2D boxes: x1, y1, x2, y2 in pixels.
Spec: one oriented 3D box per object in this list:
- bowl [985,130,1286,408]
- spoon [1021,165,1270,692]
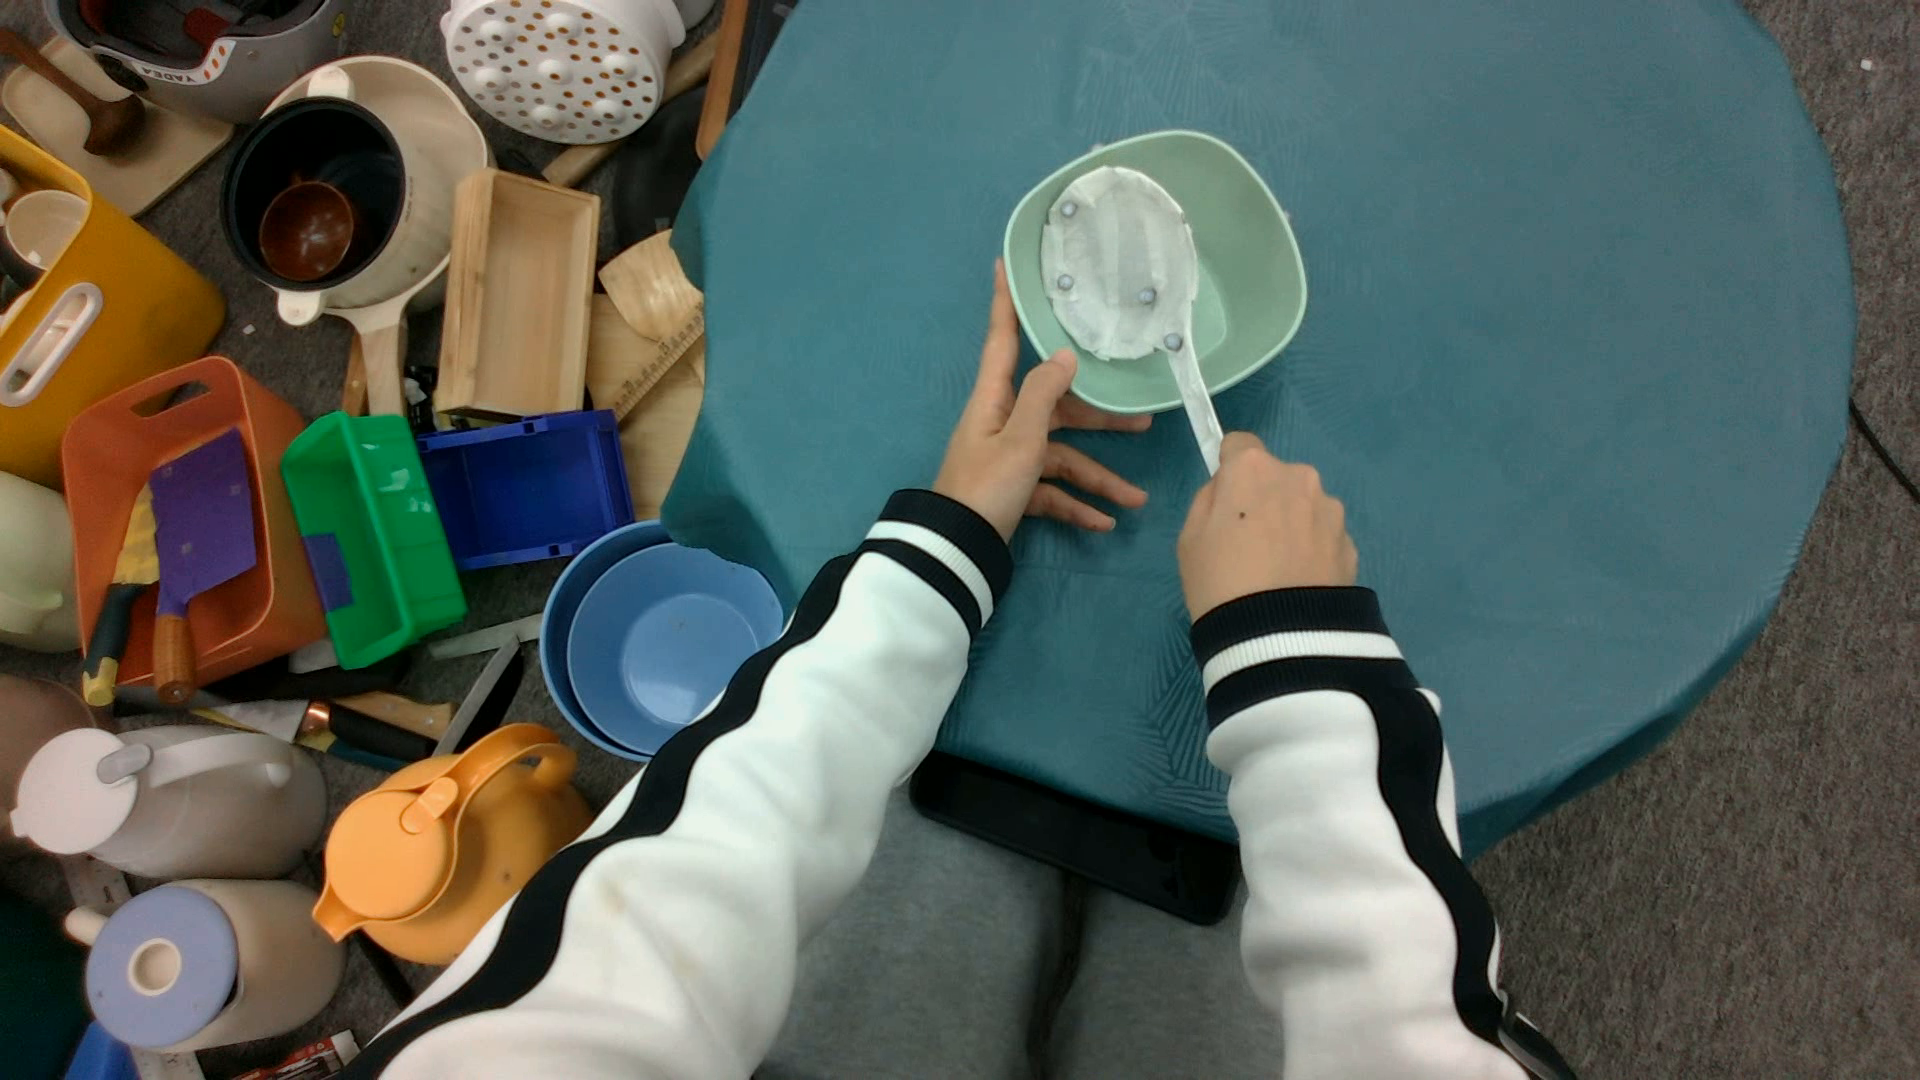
[{"bbox_3d":[0.087,-0.129,0.701,0.151,0.058,0.152,-1,76,3],"label":"bowl"},{"bbox_3d":[0.079,-0.054,0.631,0.059,0.100,0.278,9,53,-25],"label":"spoon"}]
